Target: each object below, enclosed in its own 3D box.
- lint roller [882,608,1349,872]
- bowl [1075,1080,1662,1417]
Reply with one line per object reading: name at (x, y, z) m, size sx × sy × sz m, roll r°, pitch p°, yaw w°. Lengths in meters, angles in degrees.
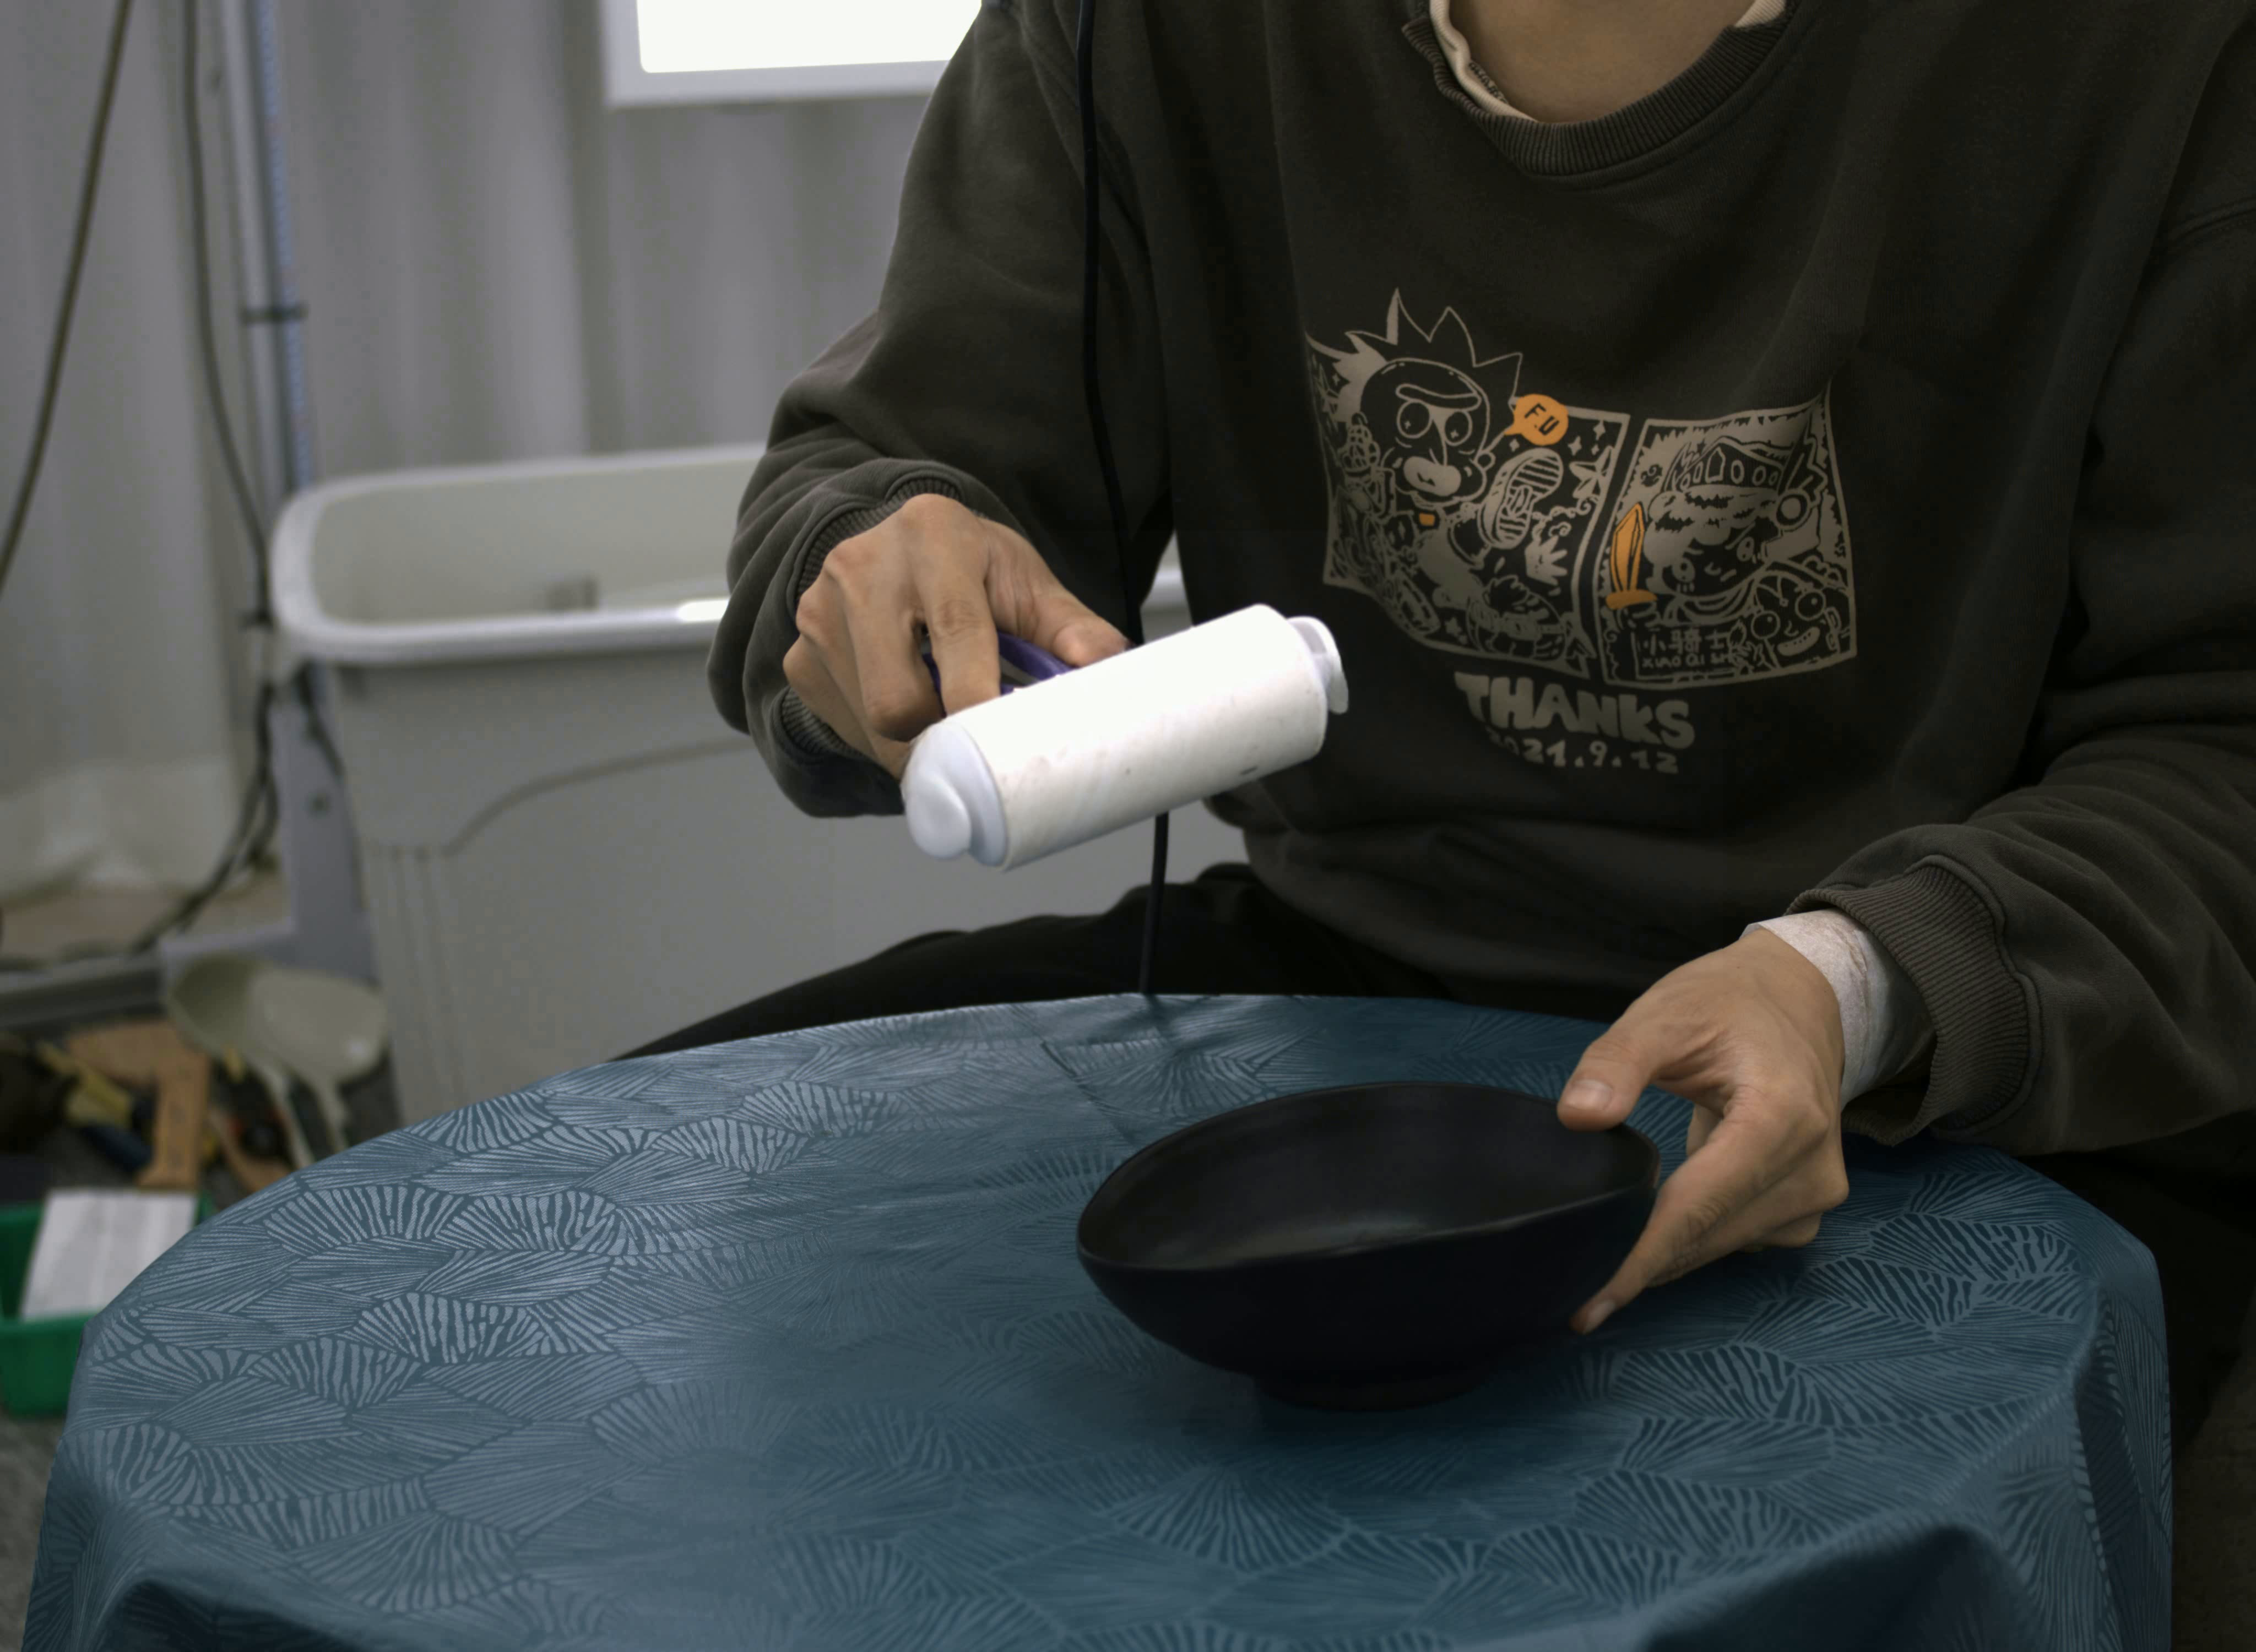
lint roller at (-0.027, -0.046, 1.584) m, size 0.132 × 0.050 × 0.183 m, roll -19°, pitch 28°, yaw -19°
bowl at (0.071, 0.126, 1.547) m, size 0.169 × 0.066 × 0.138 m, roll -9°, pitch 15°, yaw -16°
